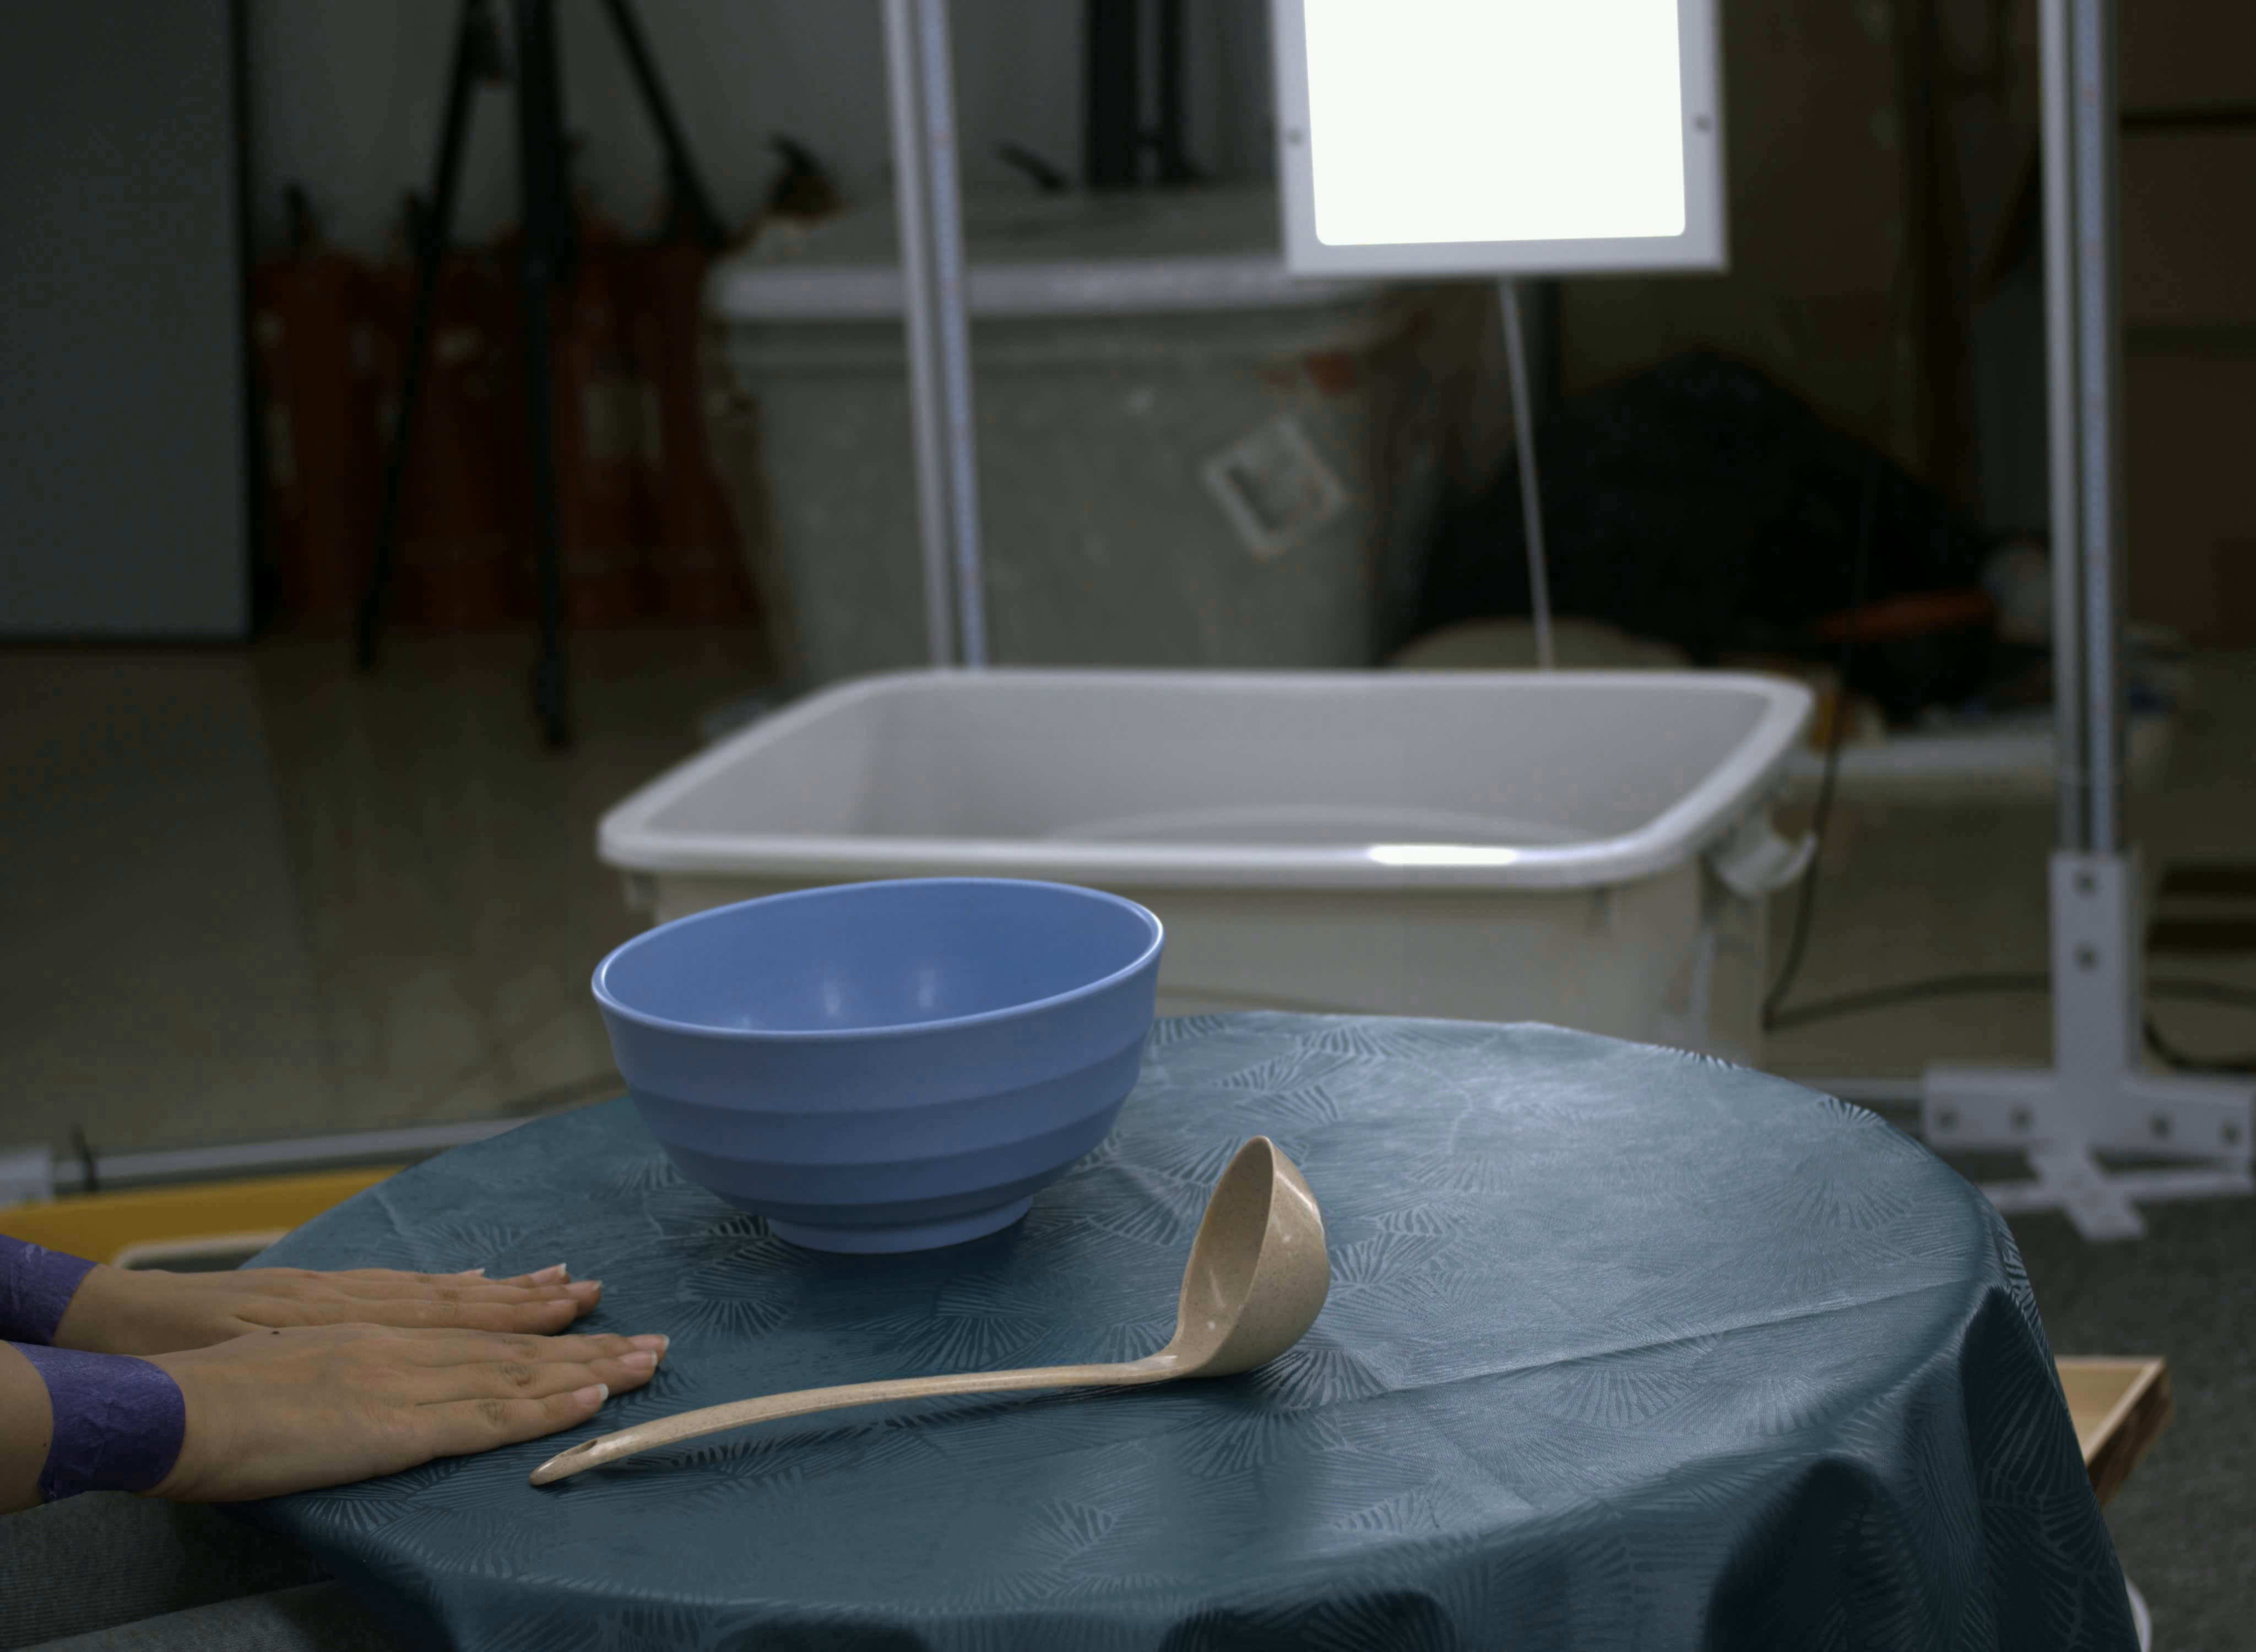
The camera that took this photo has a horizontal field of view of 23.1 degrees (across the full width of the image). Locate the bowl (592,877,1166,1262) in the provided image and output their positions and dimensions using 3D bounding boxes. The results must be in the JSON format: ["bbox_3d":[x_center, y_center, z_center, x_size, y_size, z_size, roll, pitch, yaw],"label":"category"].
[{"bbox_3d":[-0.083,0.089,1.888,0.196,0.096,0.196,-3,15,0],"label":"bowl"}]

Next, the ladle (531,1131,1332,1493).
[{"bbox_3d":[-0.062,0.147,1.685,0.251,0.073,0.073,-8,7,-13],"label":"ladle"}]
